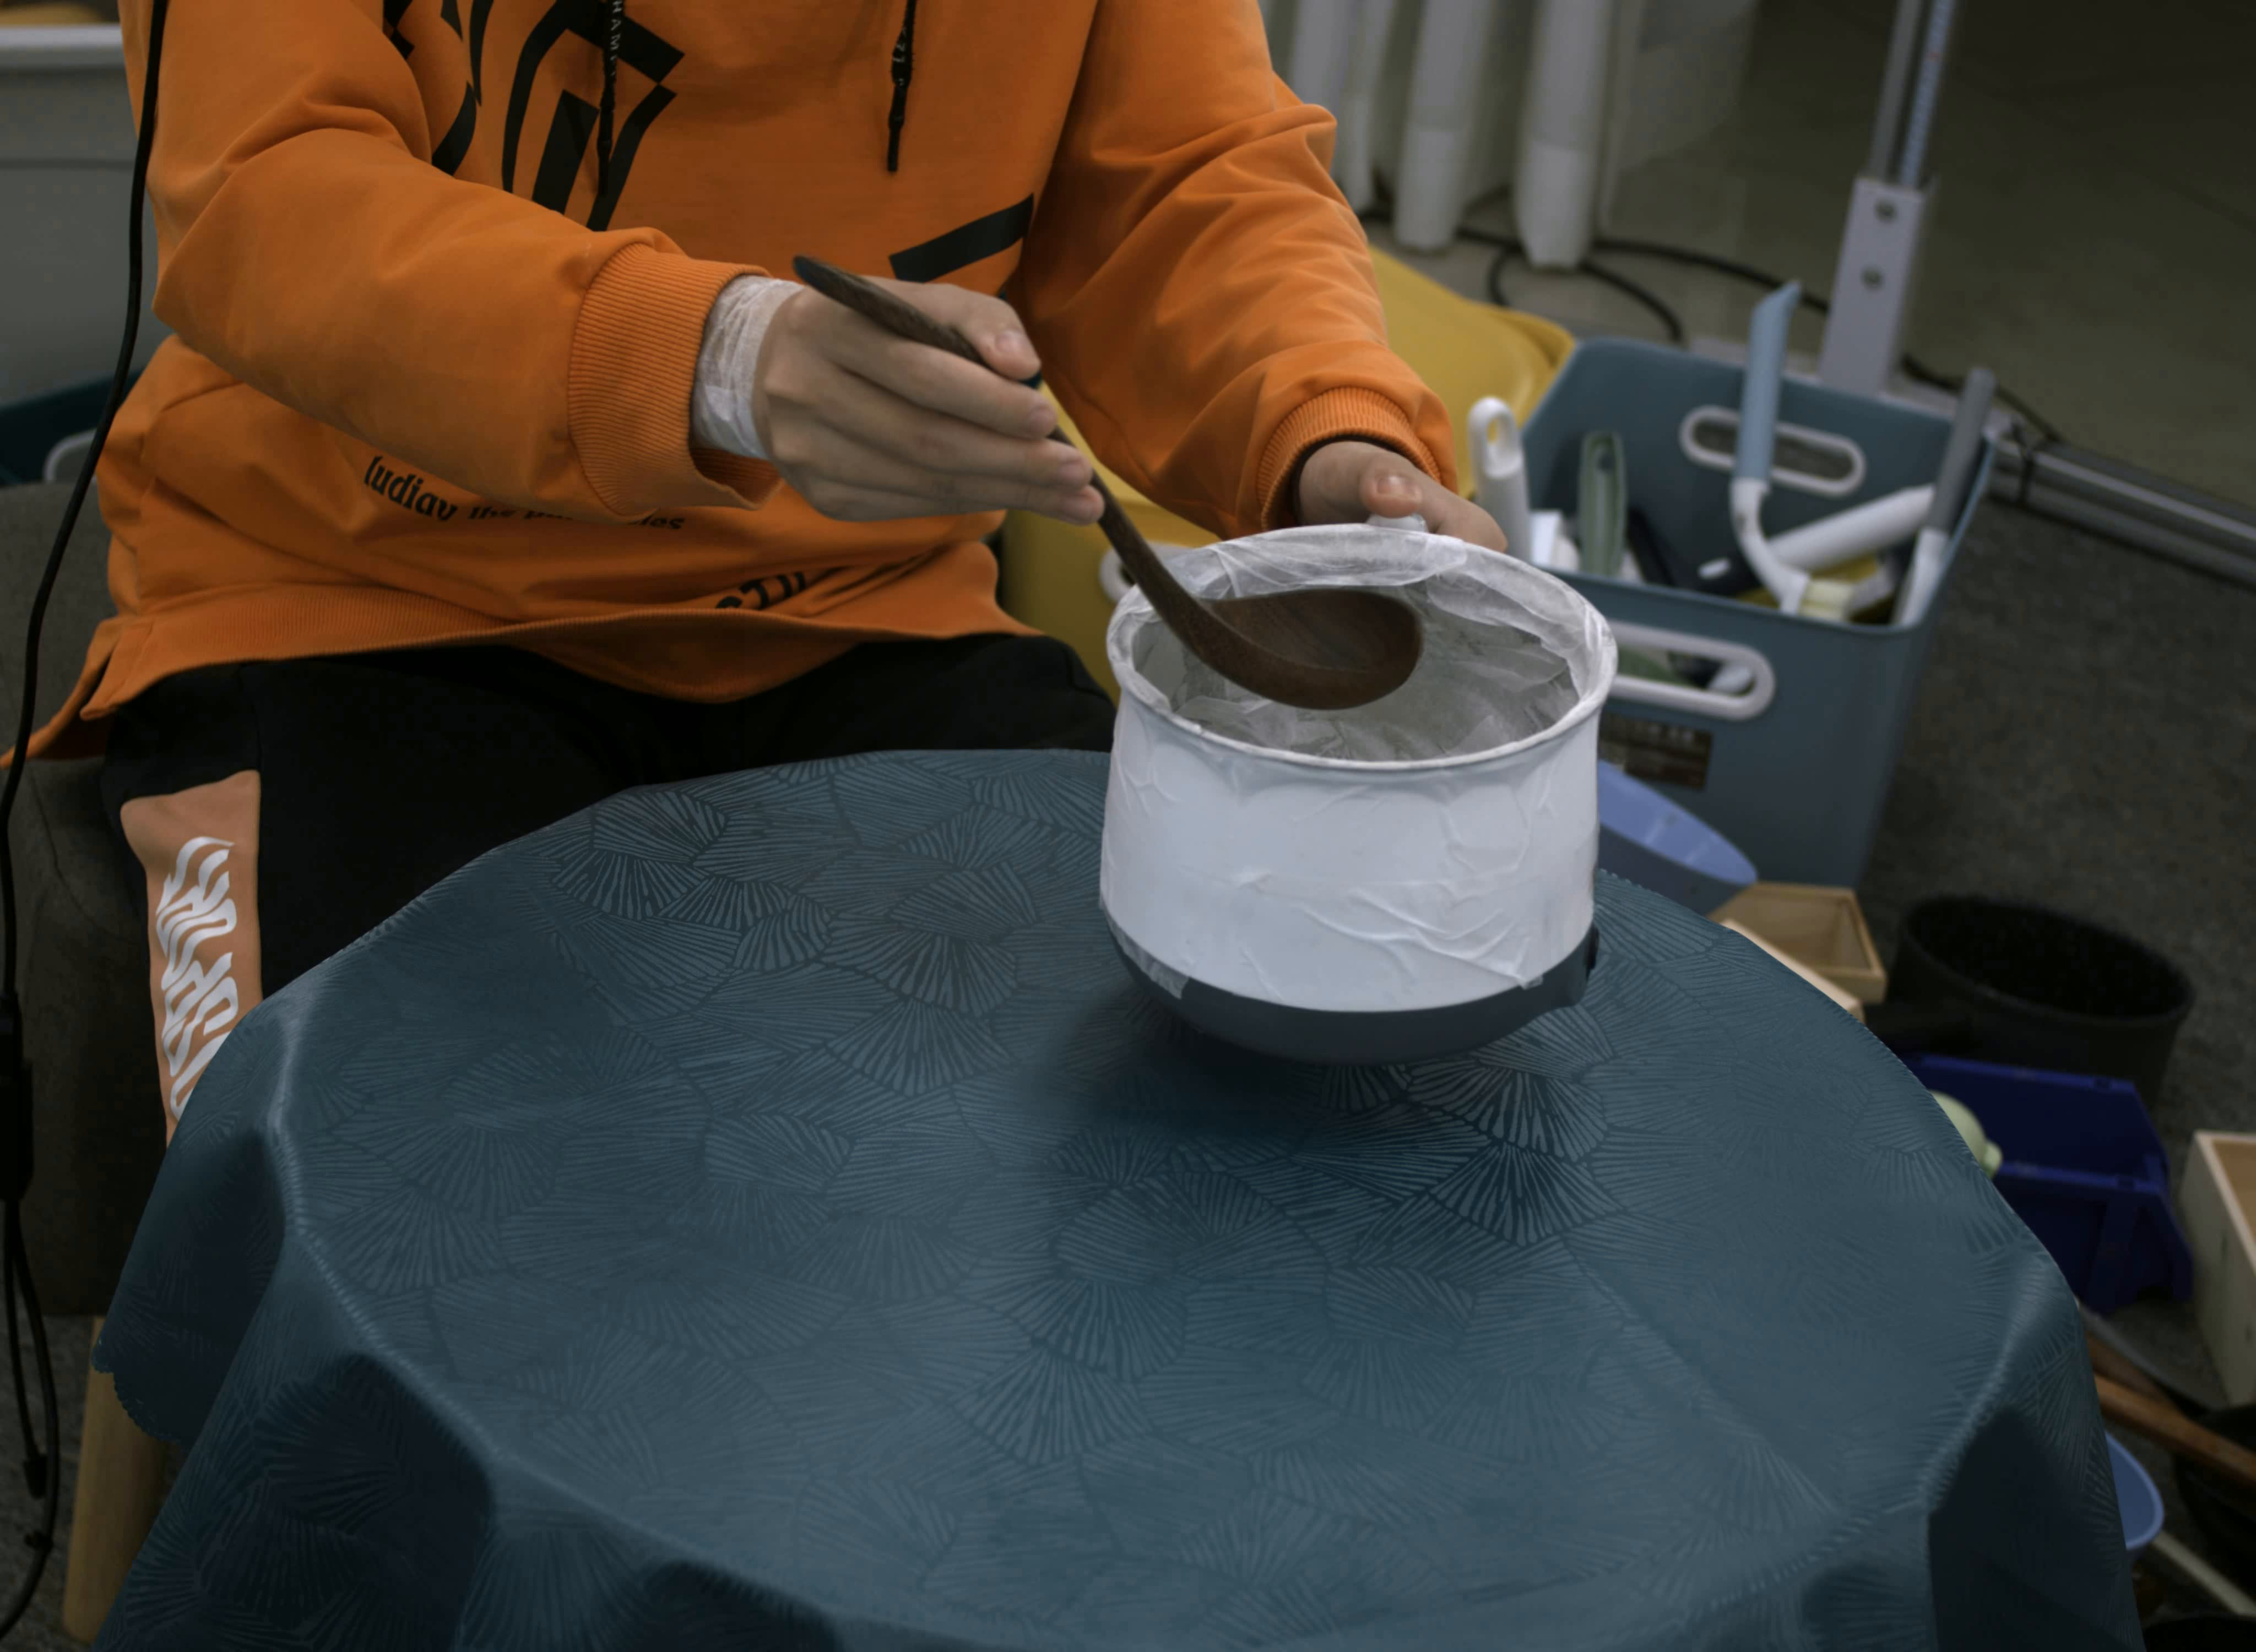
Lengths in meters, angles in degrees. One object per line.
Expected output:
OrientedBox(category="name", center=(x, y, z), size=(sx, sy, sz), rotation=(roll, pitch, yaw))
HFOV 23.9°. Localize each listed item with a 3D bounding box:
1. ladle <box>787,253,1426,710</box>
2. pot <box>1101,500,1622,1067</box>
OrientedBox(category="ladle", center=(-0.001, -0.127, 1.796), size=(0.272, 0.071, 0.076), rotation=(44, -3, -31))
OrientedBox(category="pot", center=(0.083, -0.023, 1.889), size=(0.178, 0.136, 0.235), rotation=(6, 30, 6))
